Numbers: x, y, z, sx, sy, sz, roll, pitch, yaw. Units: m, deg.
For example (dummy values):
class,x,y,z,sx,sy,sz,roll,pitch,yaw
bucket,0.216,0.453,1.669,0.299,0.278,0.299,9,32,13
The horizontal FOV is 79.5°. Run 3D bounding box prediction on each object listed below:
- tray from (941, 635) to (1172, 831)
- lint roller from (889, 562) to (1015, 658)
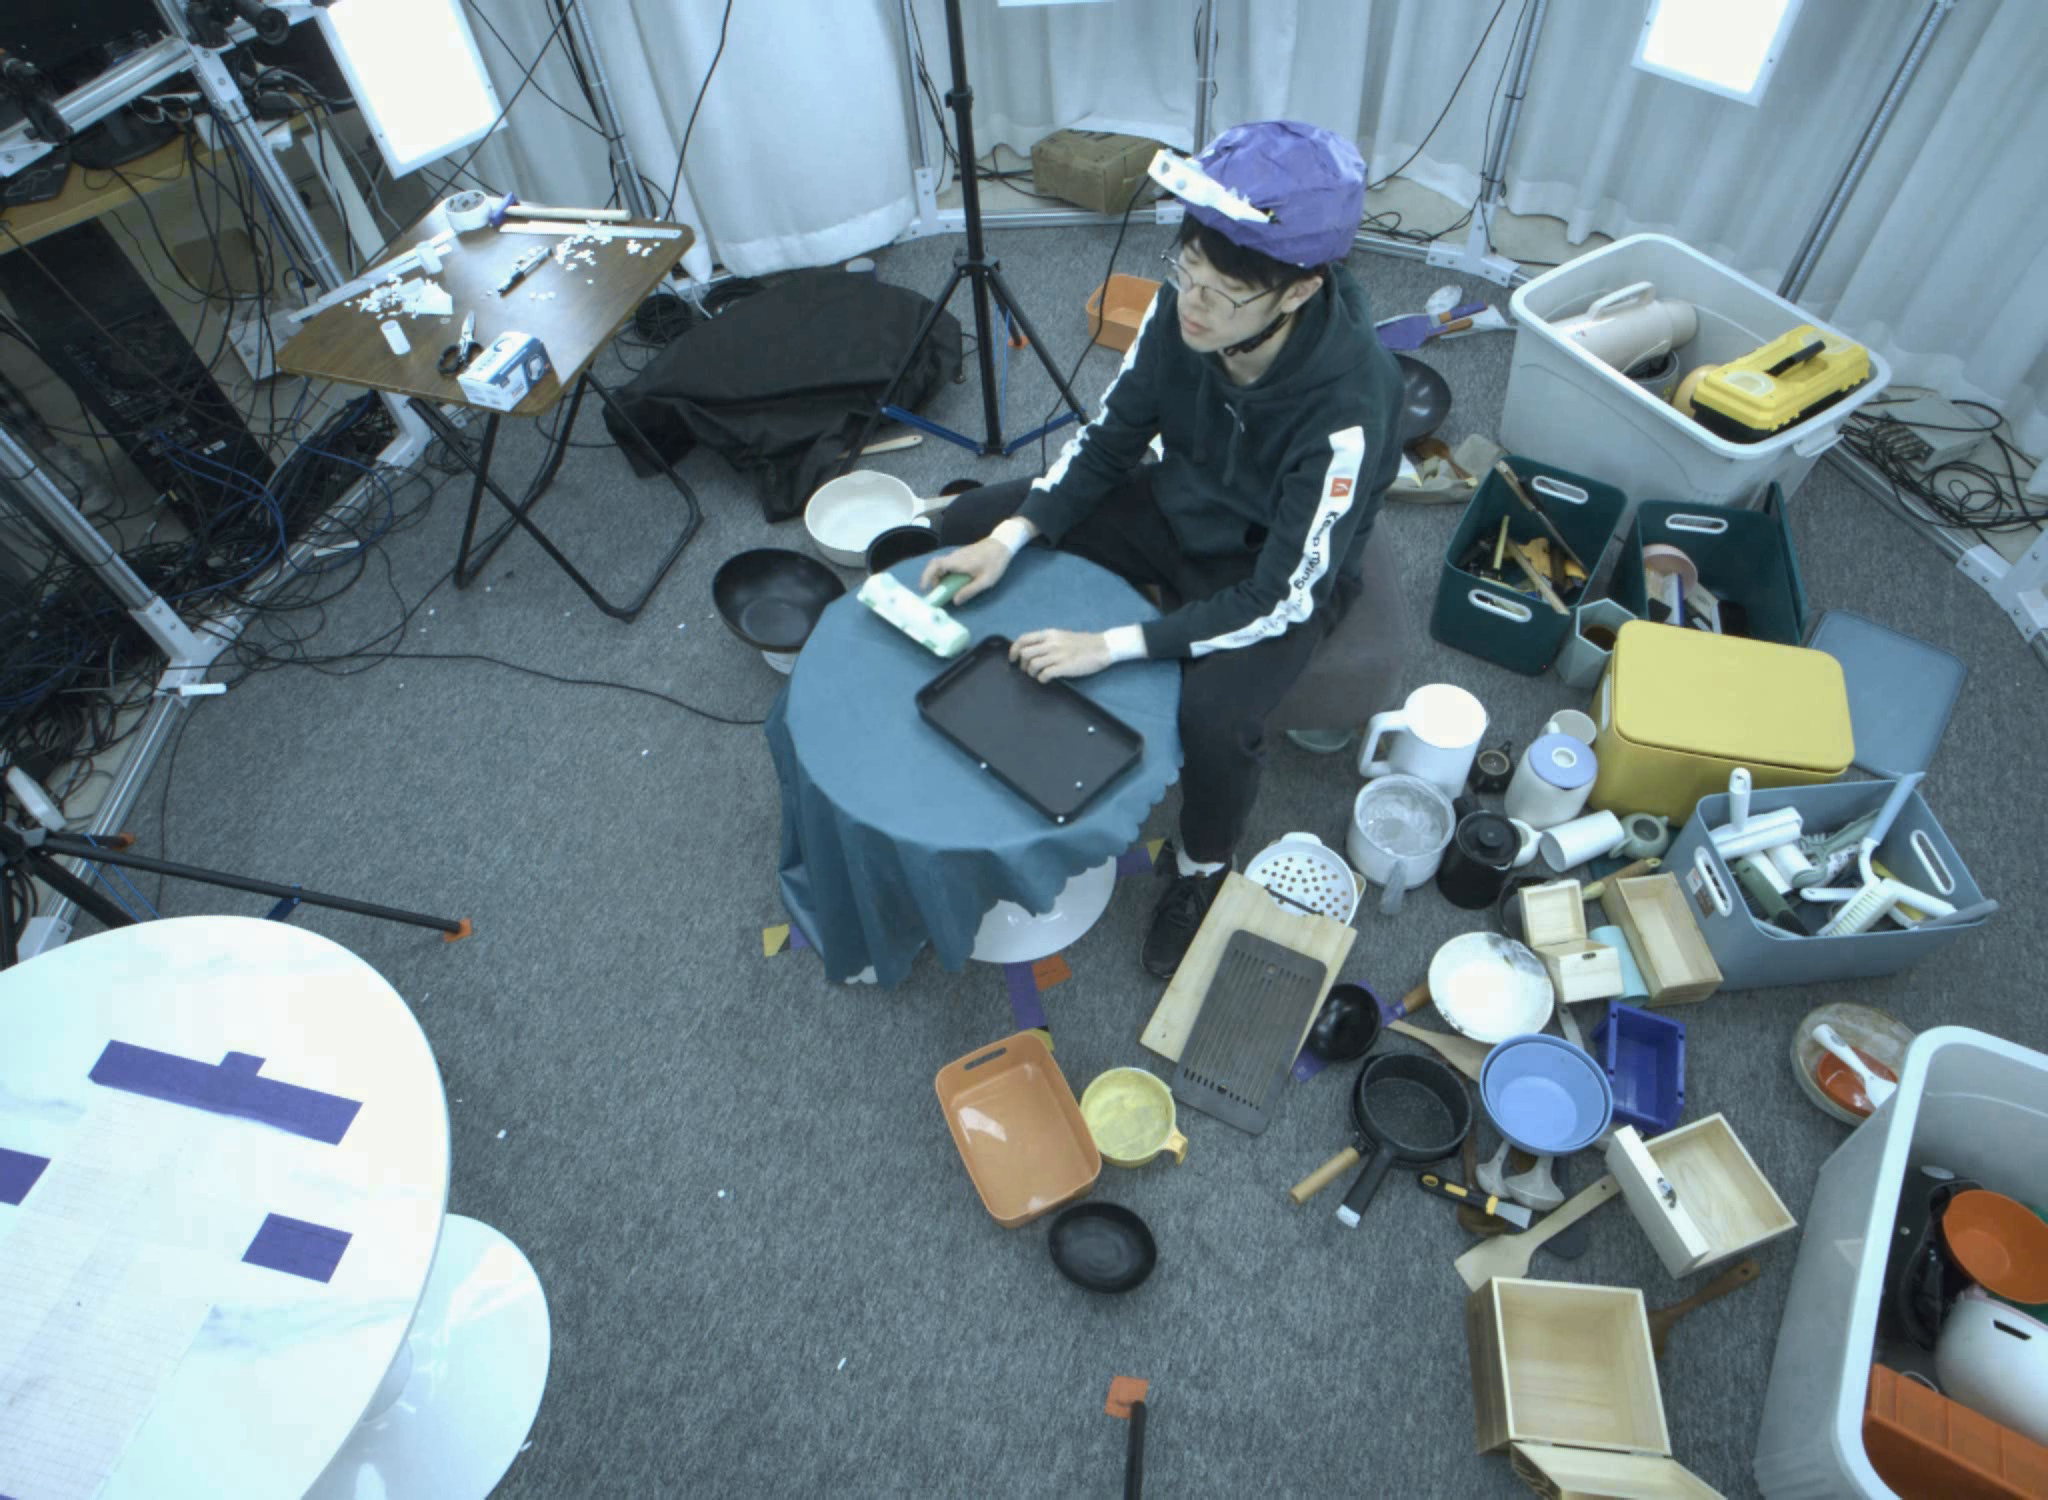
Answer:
class,x,y,z,sx,sy,sz,roll,pitch,yaw
tray,0.045,-0.030,1.781,0.185,0.037,0.312,-39,62,-22
lint roller,-0.085,-0.251,1.909,0.195,0.083,0.184,38,71,25
